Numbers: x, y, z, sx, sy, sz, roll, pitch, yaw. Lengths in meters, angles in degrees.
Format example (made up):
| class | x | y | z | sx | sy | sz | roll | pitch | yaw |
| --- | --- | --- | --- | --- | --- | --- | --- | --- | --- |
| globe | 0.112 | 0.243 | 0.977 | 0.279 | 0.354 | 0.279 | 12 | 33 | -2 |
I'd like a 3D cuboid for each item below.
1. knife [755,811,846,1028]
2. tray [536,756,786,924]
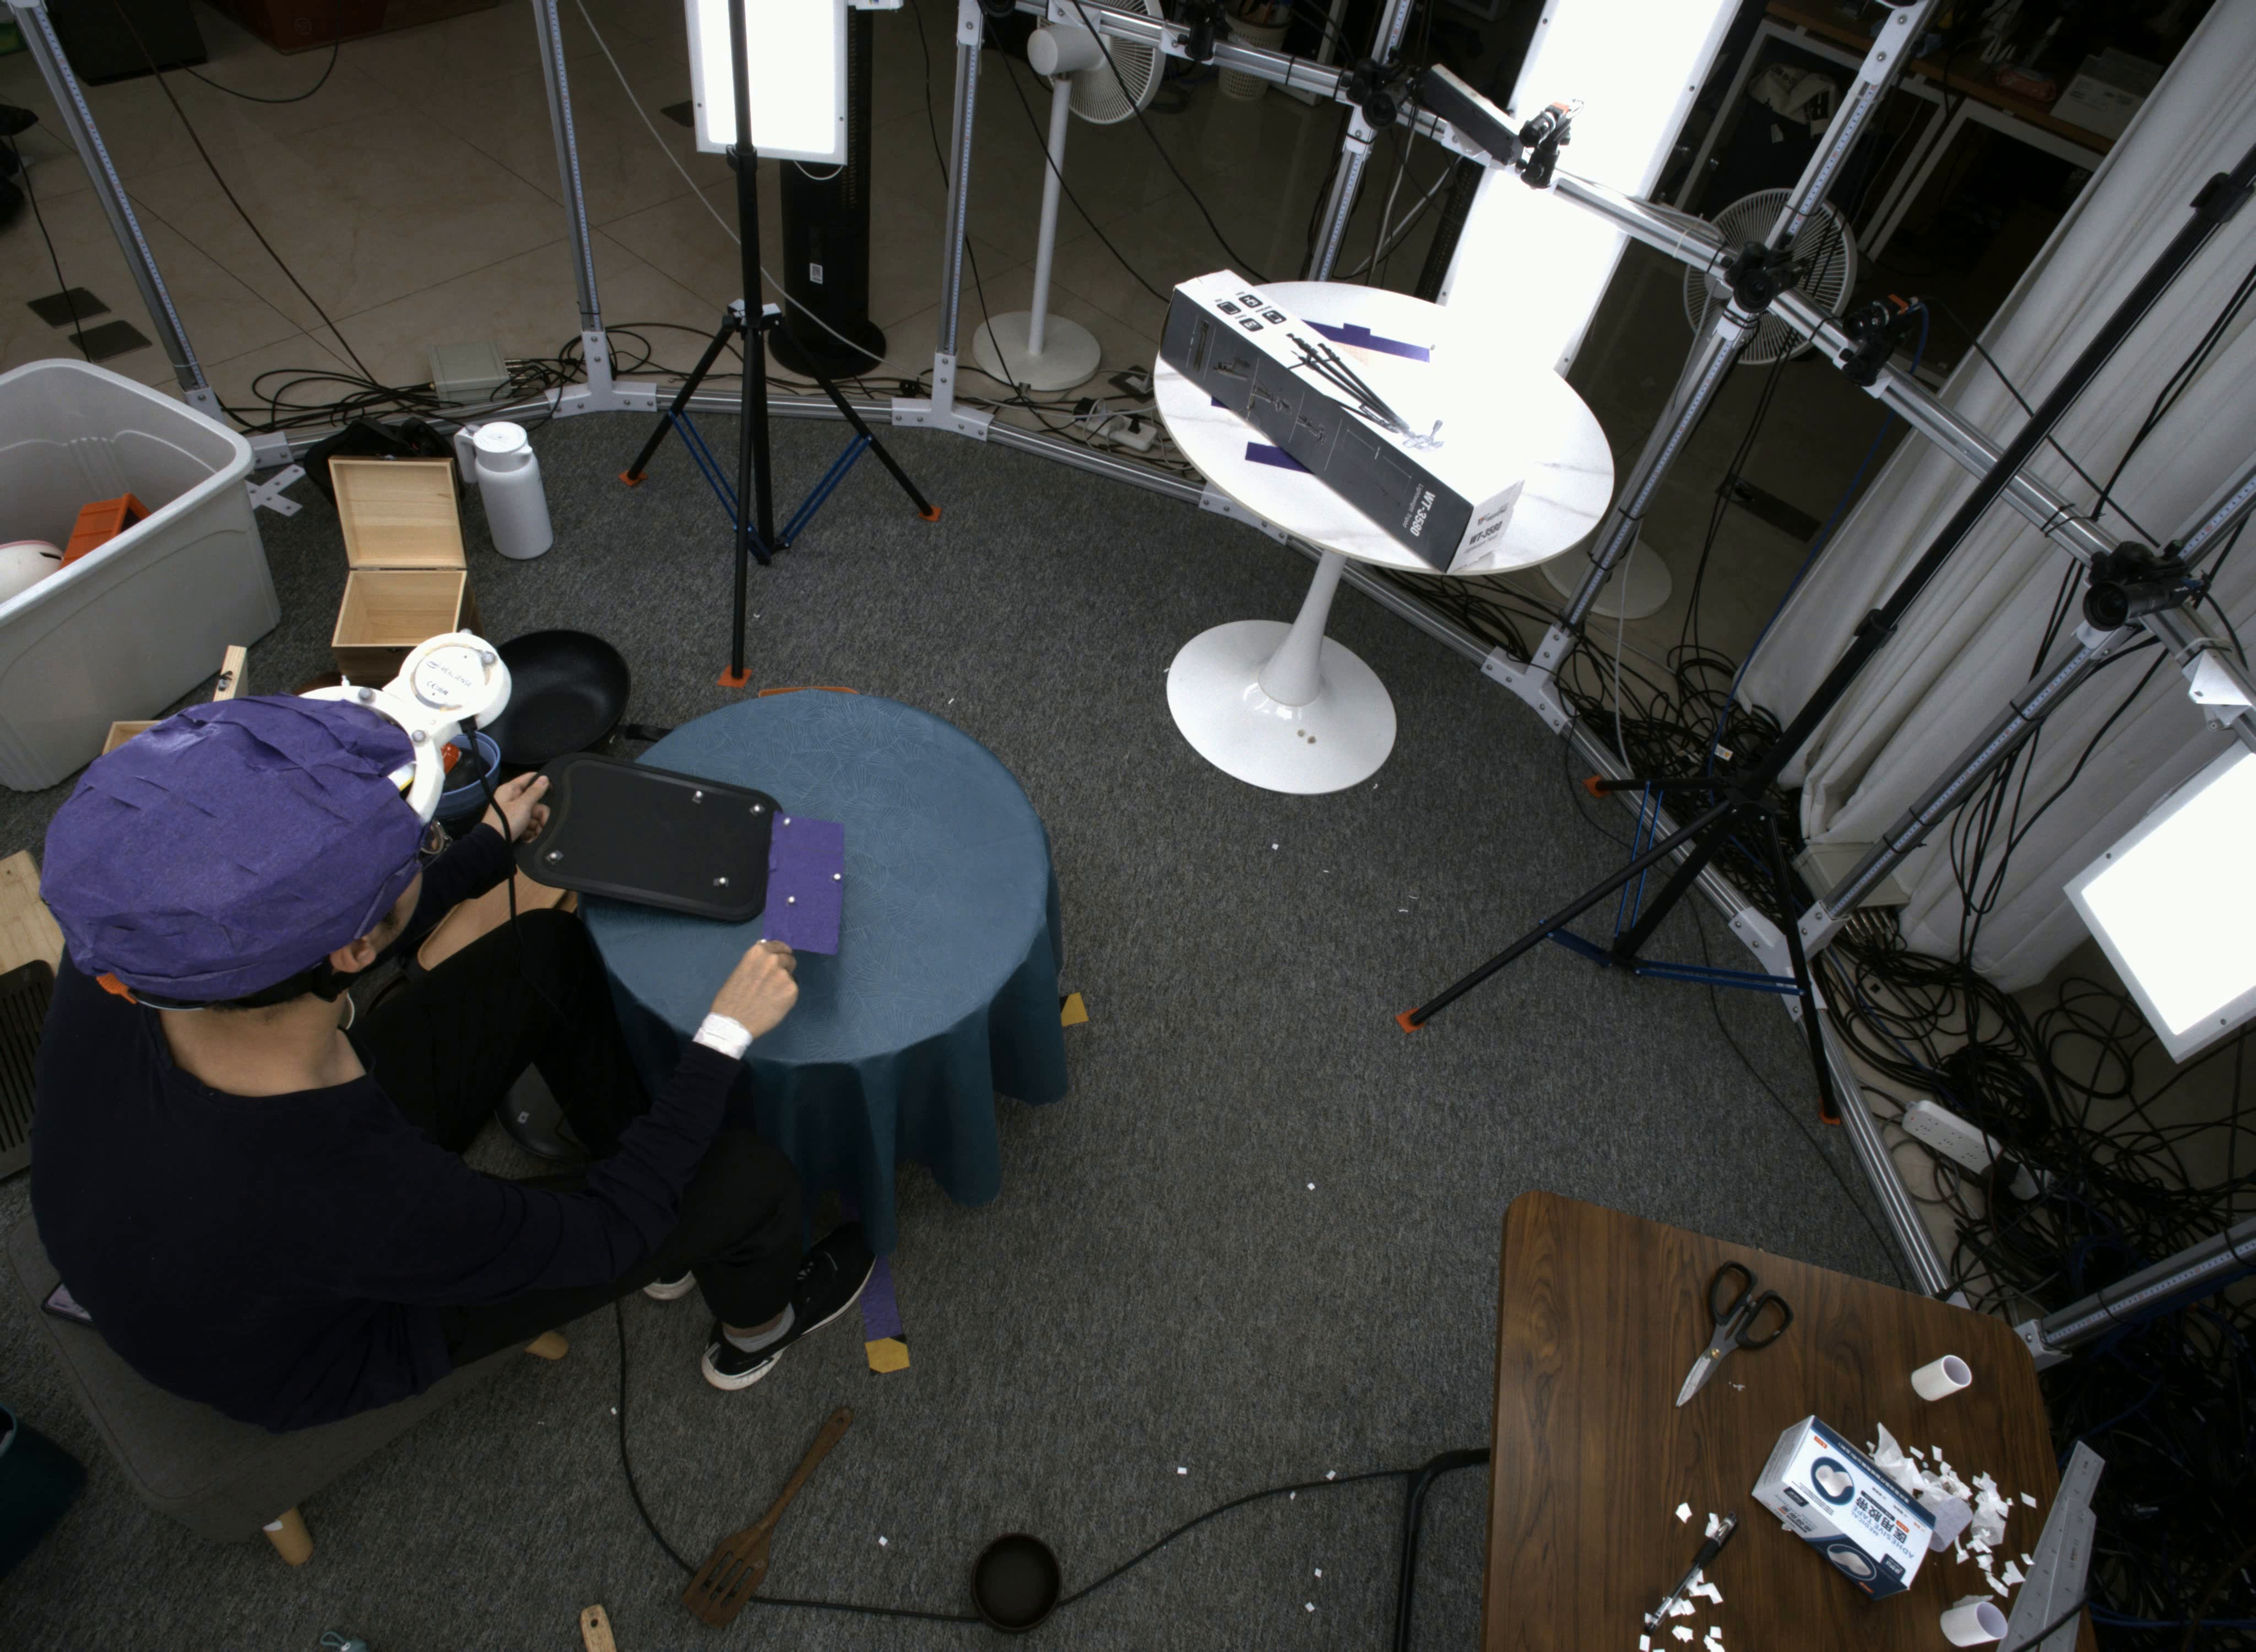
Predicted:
| class | x | y | z | sx | sy | sz | roll | pitch | yaw |
| --- | --- | --- | --- | --- | --- | --- | --- | --- | --- |
| knife | -0.391 | 0.102 | 1.552 | 0.105 | 0.032 | 0.308 | 8 | 49 | -20 |
| tray | -0.608 | 0.011 | 1.640 | 0.328 | 0.010 | 0.207 | 14 | 52 | -17 |
